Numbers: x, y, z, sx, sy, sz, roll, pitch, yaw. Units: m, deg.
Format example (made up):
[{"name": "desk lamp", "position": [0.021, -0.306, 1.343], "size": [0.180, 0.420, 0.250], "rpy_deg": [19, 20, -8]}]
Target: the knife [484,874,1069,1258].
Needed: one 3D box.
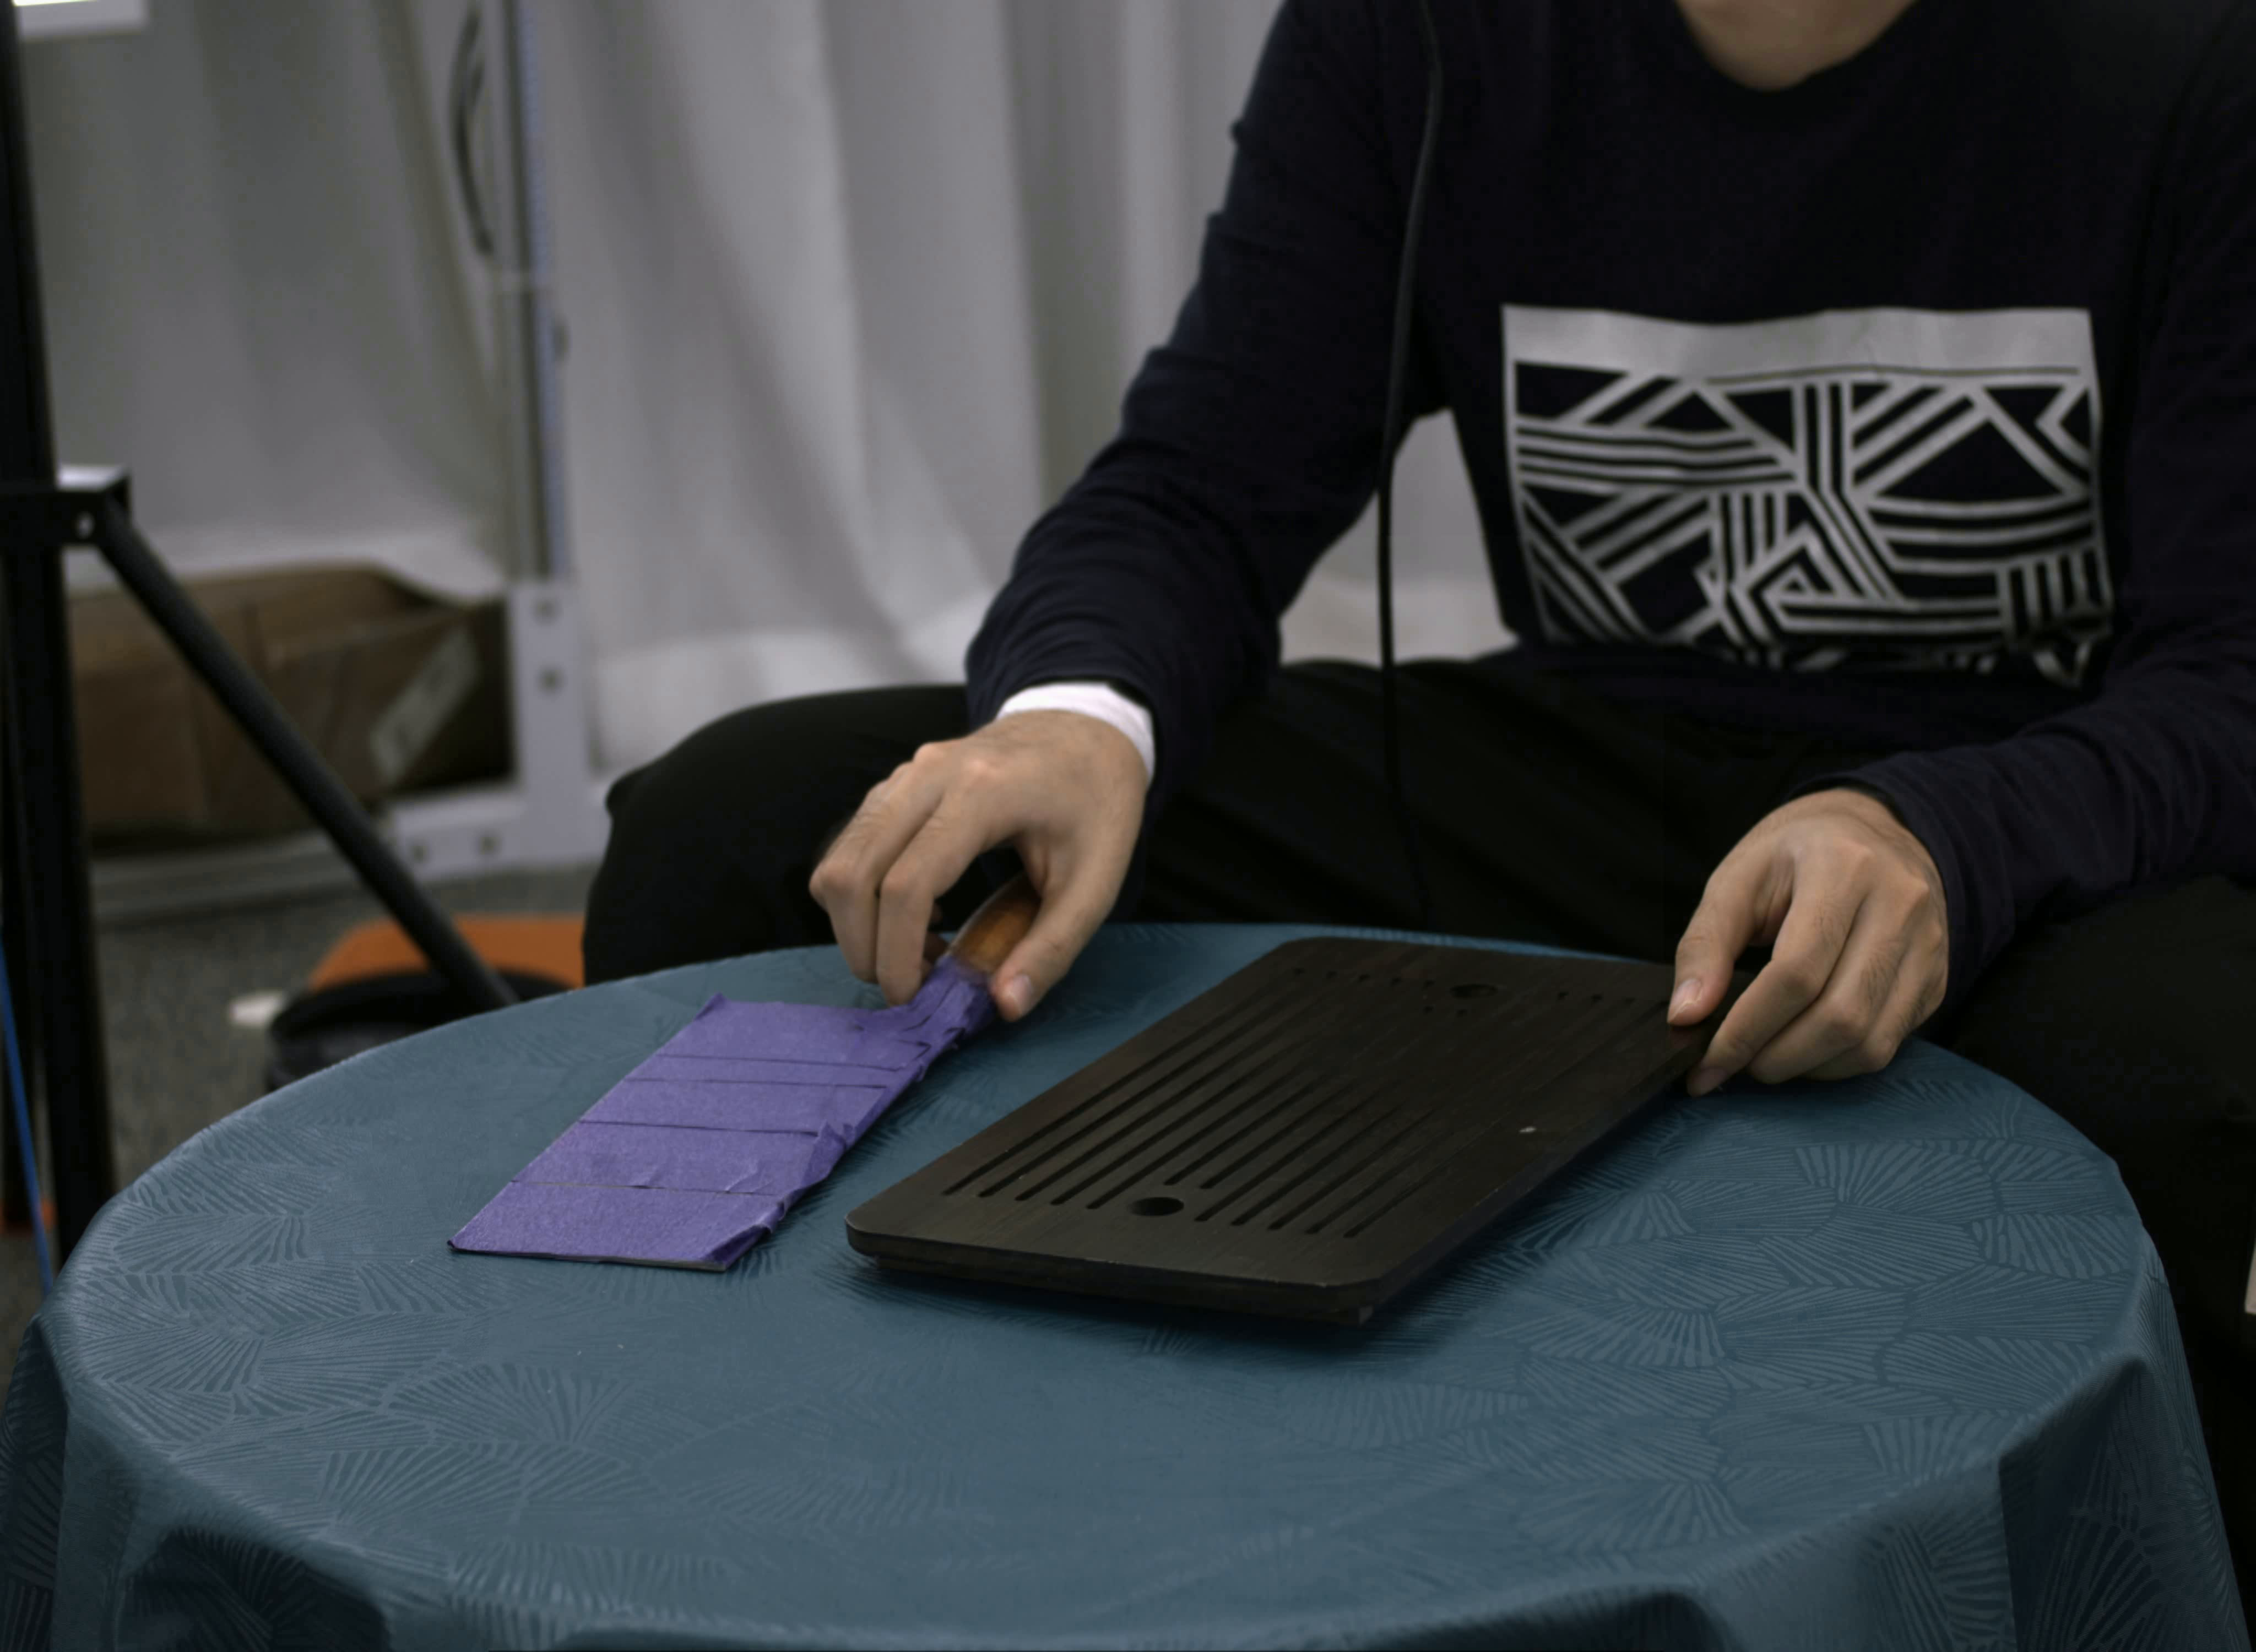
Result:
[{"name": "knife", "position": [-0.106, 0.071, 1.659], "size": [0.105, 0.032, 0.312], "rpy_deg": [3, 17, 18]}]

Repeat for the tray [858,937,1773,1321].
[{"name": "tray", "position": [0.064, 0.087, 1.582], "size": [0.173, 0.018, 0.301], "rpy_deg": [4, 16, 29]}]
